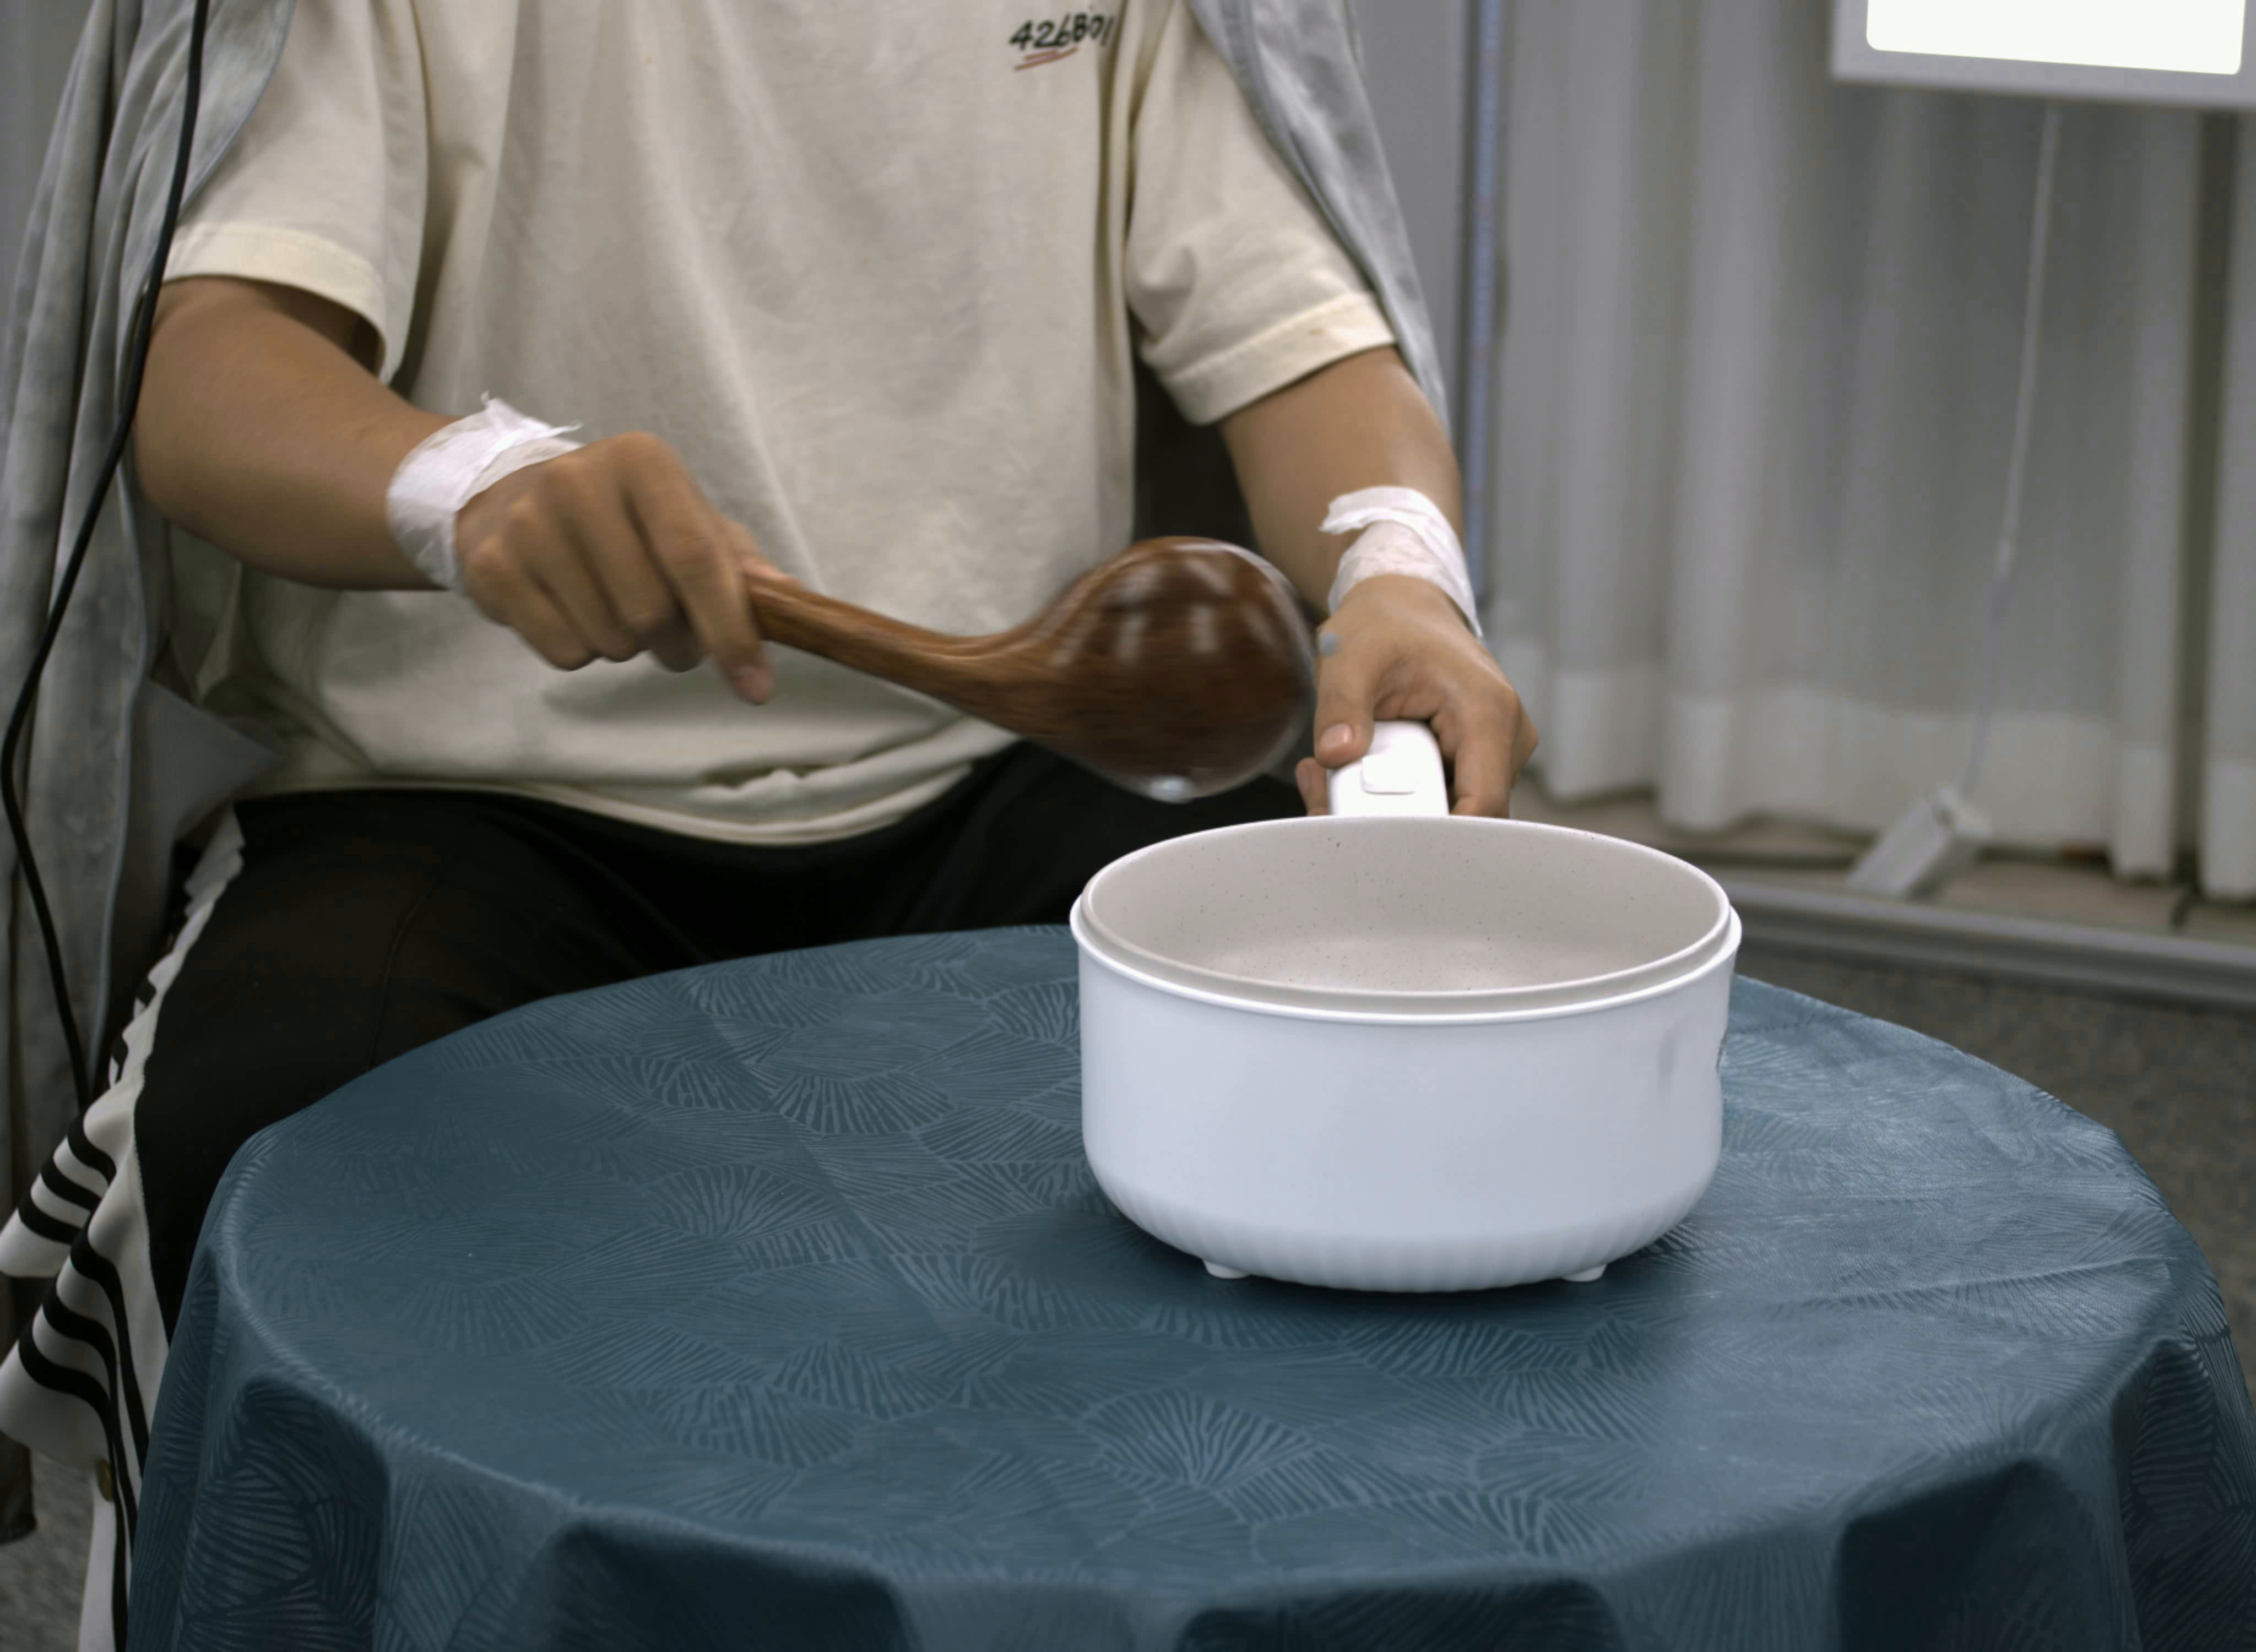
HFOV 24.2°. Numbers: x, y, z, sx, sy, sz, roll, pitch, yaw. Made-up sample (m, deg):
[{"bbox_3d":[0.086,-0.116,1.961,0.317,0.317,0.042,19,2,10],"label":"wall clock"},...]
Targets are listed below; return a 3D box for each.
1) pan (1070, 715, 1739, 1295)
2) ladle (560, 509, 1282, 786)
[{"bbox_3d":[0.085,0.052,1.666,0.200,0.103,0.353,0,15,1],"label":"pan"},{"bbox_3d":[-0.065,-0.065,1.600,0.077,0.082,0.270,-19,20,-38],"label":"ladle"}]
